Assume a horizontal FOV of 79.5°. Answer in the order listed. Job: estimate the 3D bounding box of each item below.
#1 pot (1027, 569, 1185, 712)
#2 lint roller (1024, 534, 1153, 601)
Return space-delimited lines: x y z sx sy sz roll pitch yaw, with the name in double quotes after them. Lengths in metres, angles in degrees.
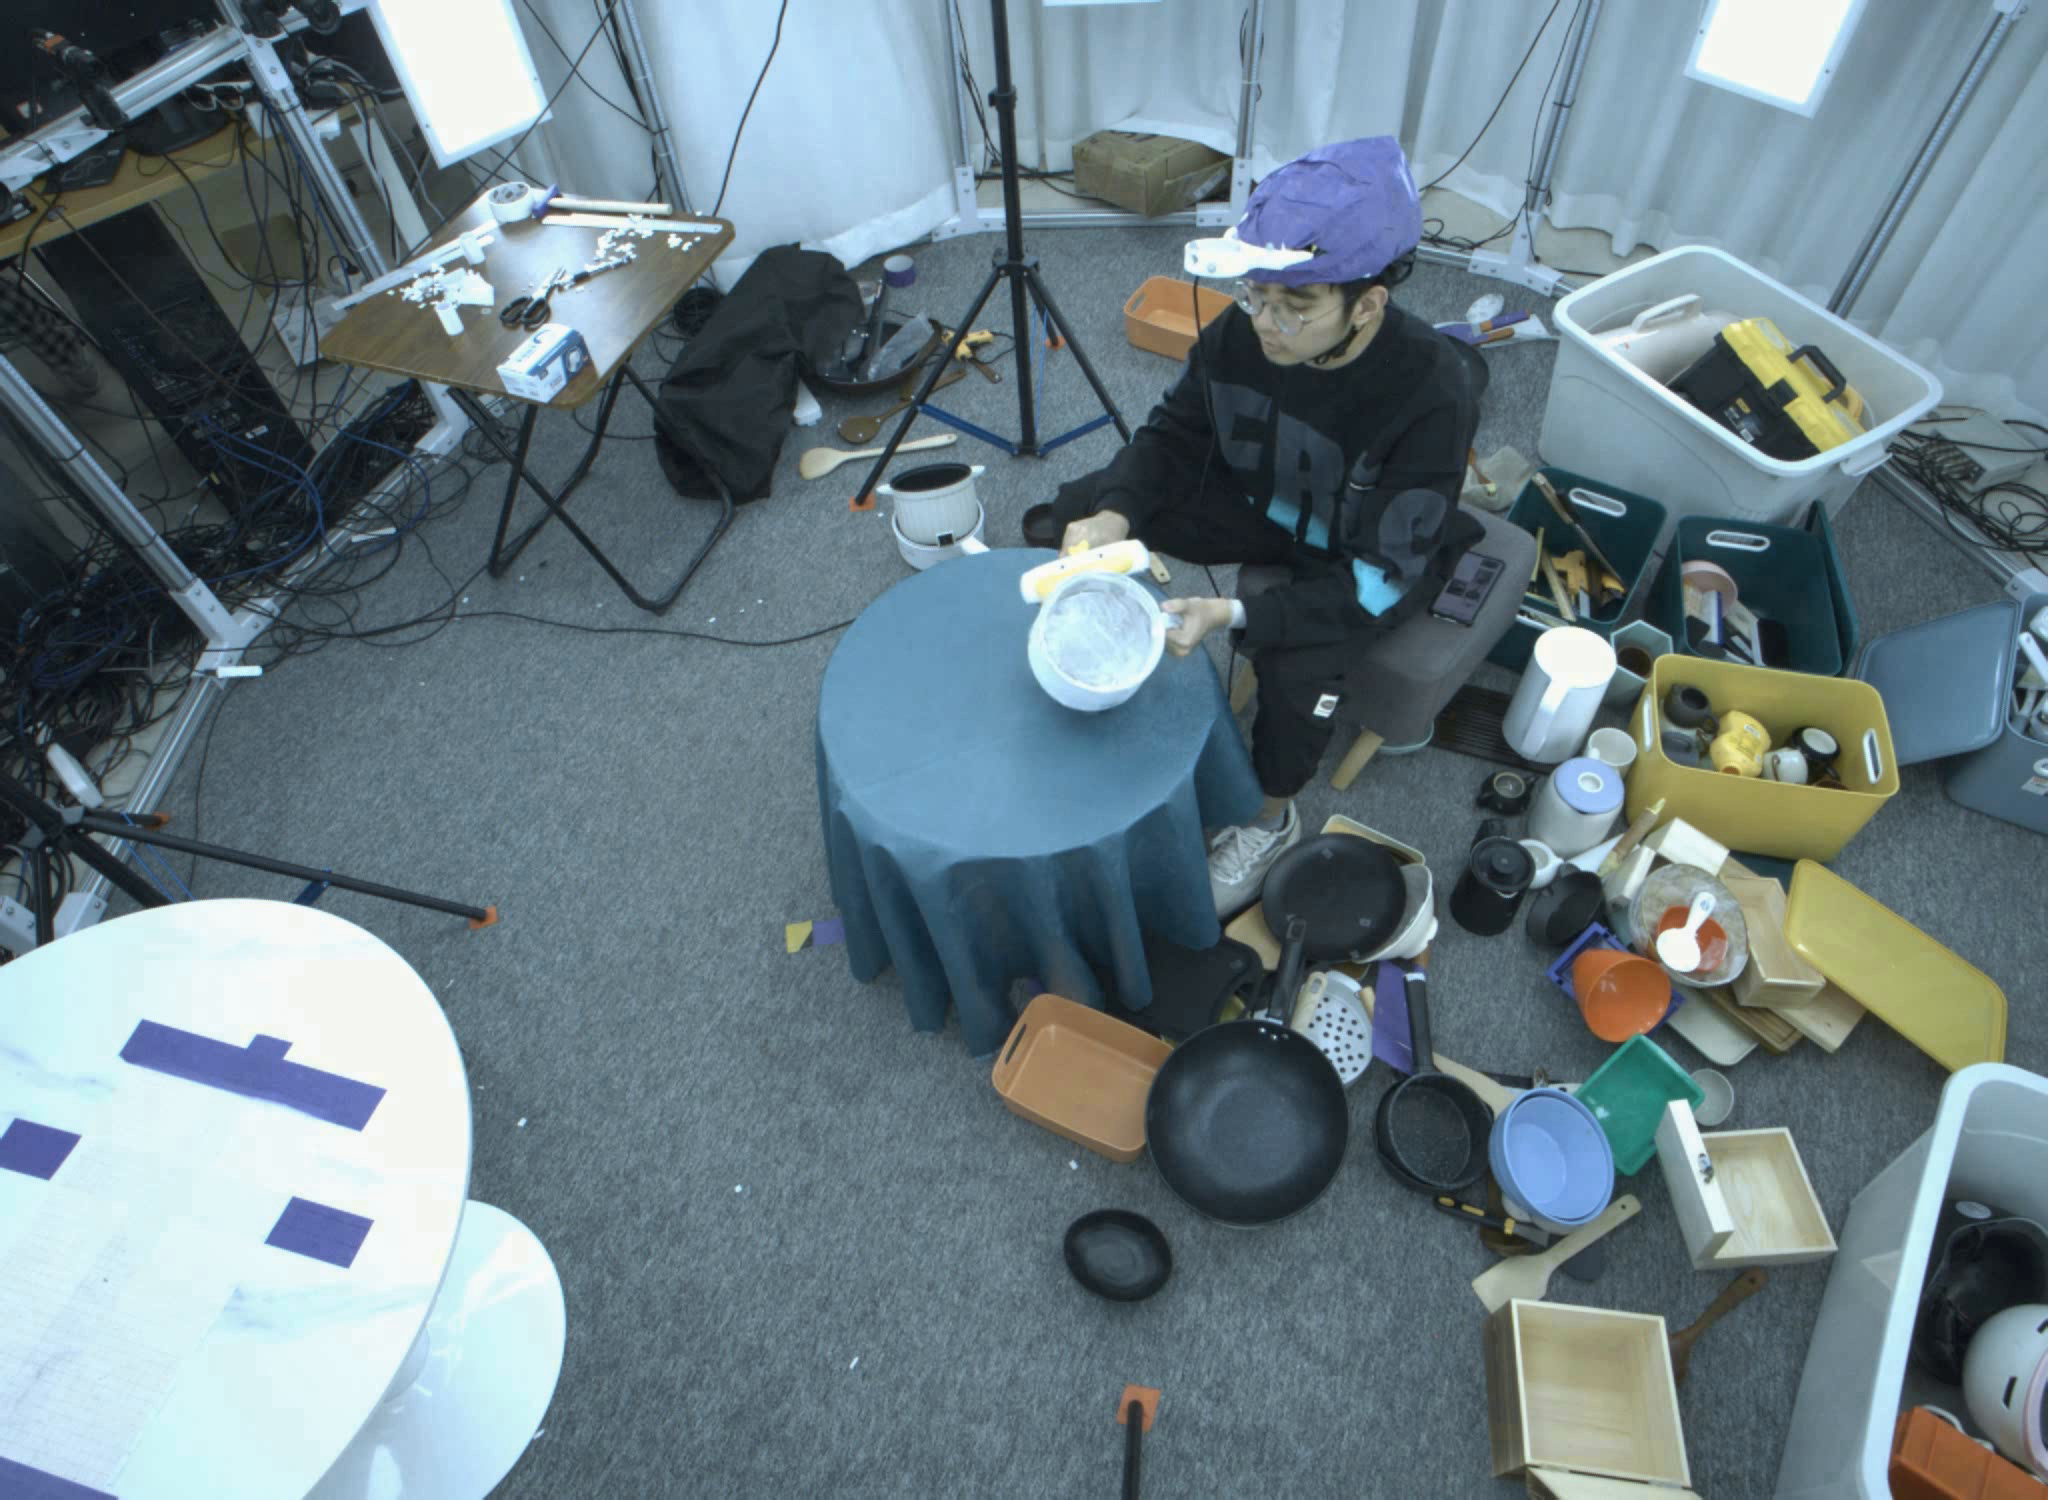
0.122 -0.159 1.744 0.235 0.136 0.178 -17 83 -11 "pot"
0.091 -0.284 1.838 0.192 0.075 0.191 -21 13 6 "lint roller"
